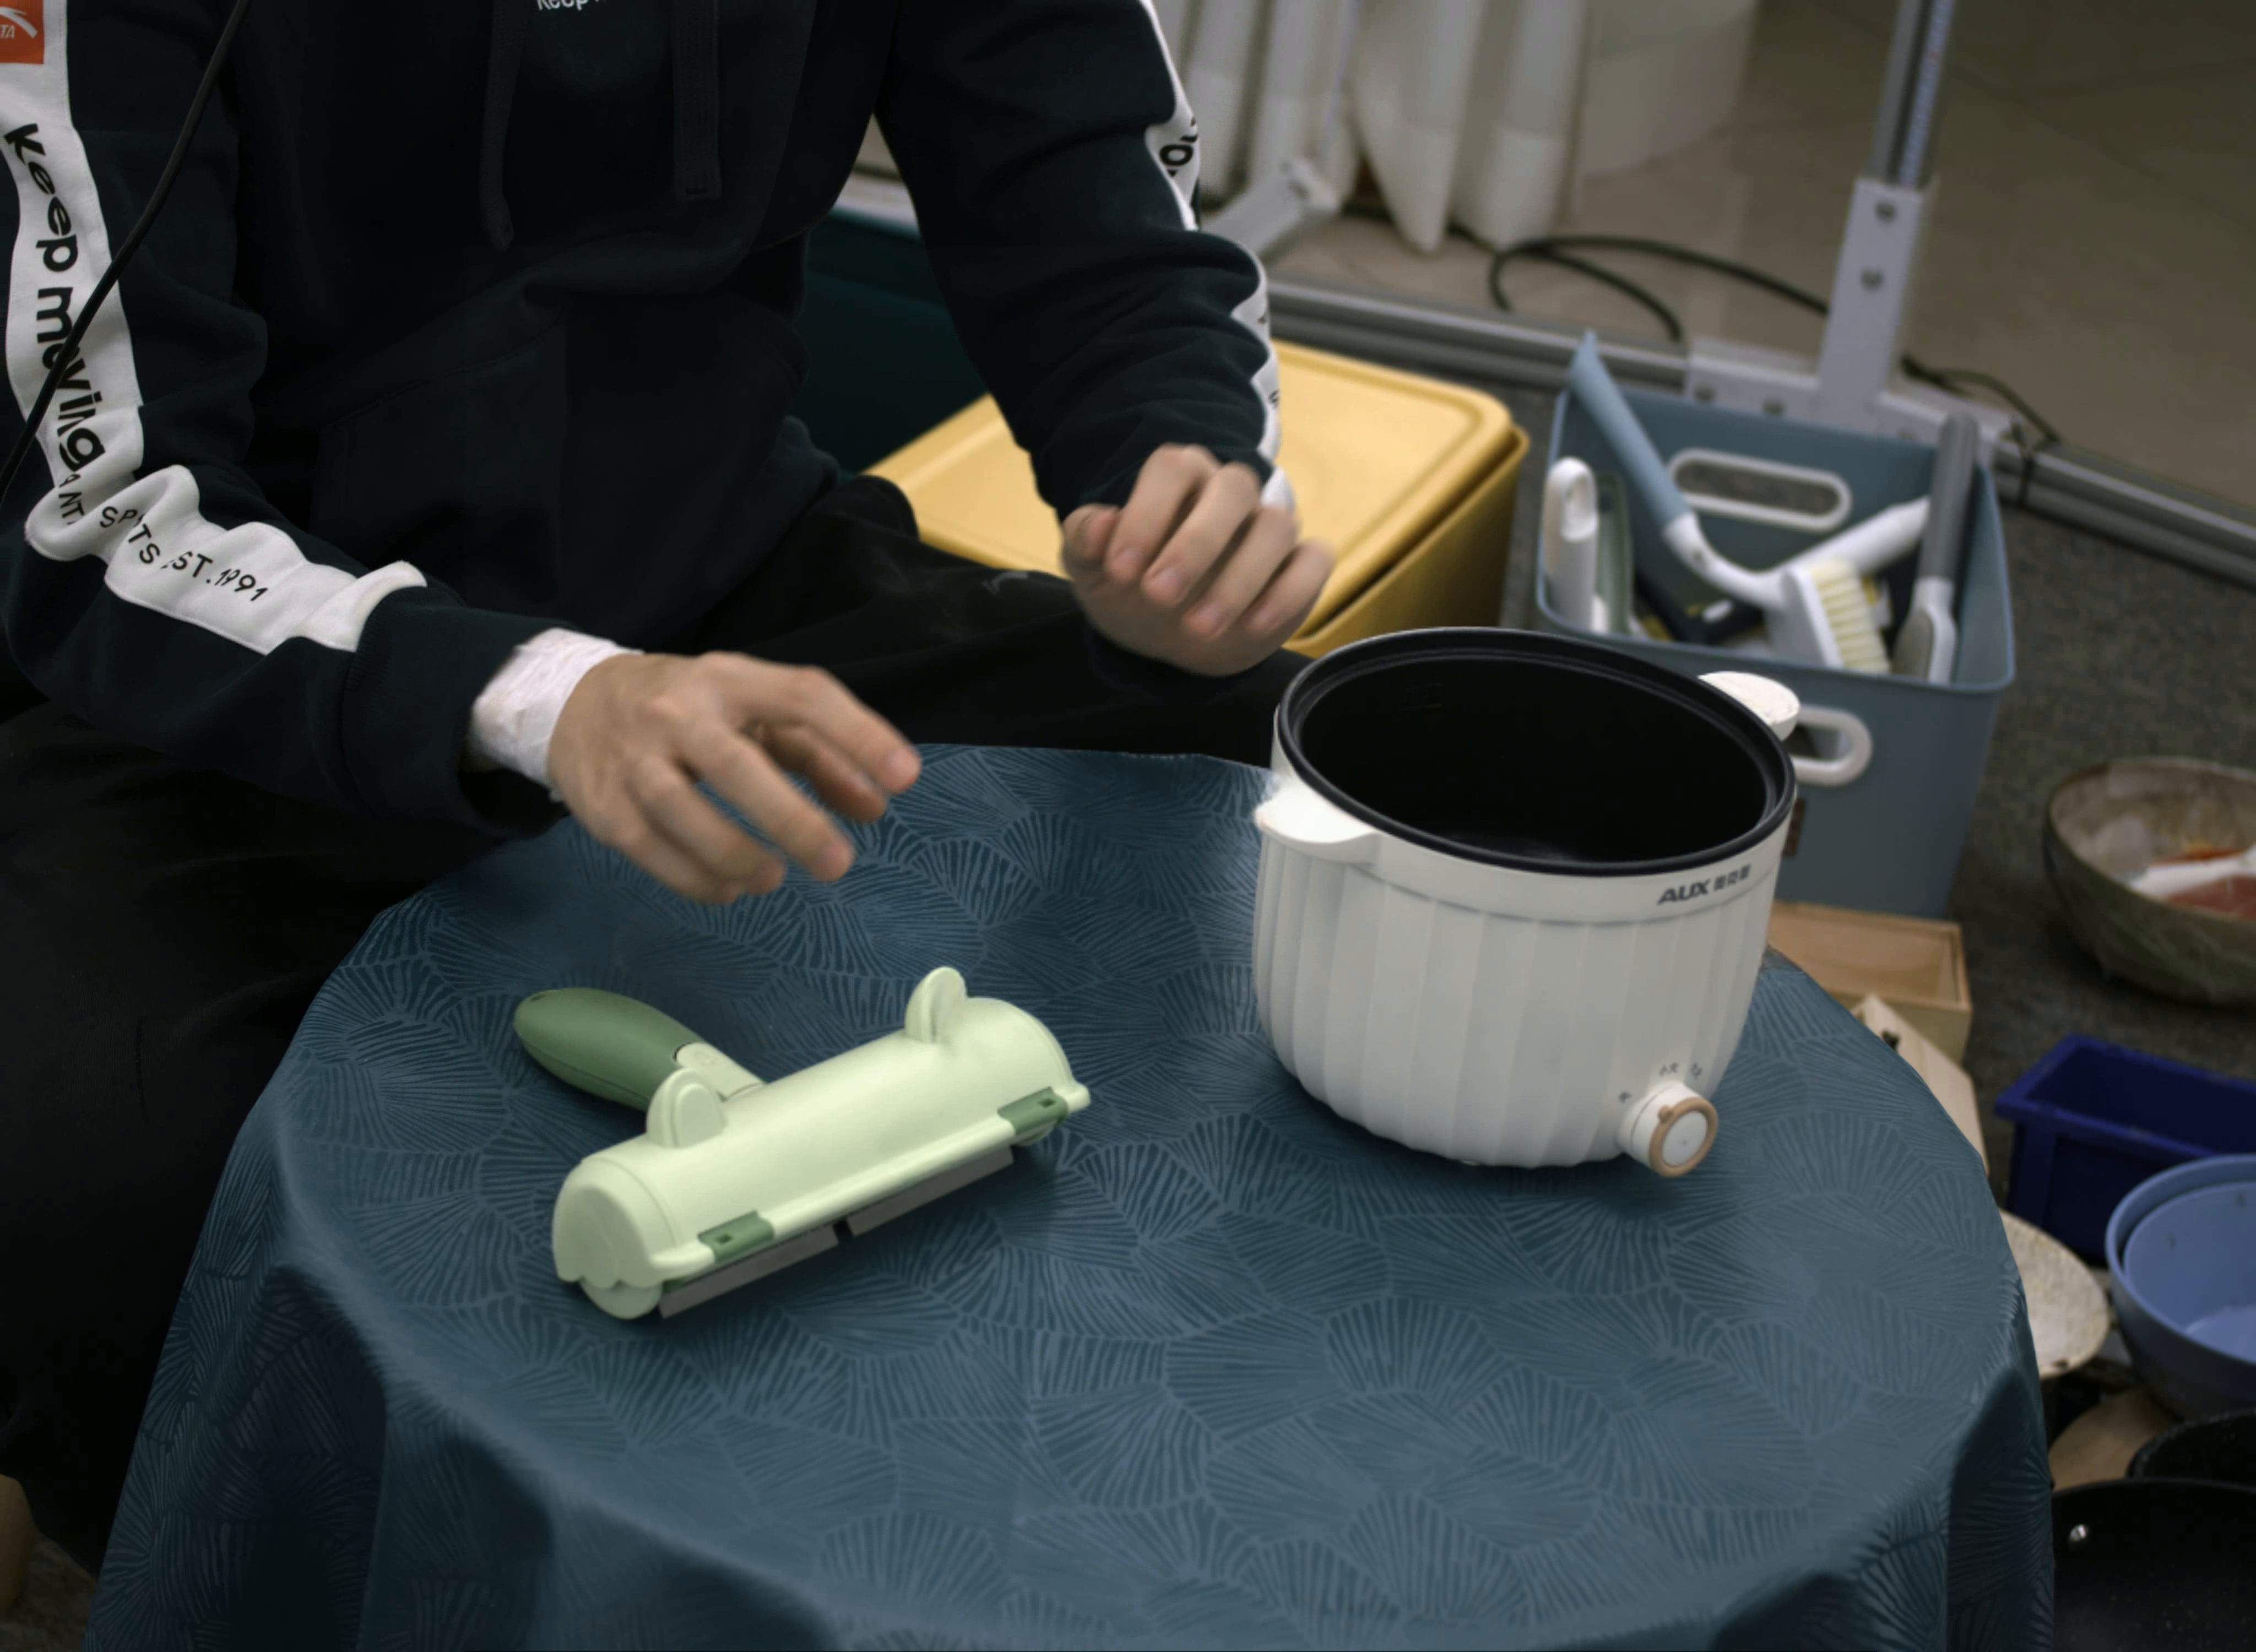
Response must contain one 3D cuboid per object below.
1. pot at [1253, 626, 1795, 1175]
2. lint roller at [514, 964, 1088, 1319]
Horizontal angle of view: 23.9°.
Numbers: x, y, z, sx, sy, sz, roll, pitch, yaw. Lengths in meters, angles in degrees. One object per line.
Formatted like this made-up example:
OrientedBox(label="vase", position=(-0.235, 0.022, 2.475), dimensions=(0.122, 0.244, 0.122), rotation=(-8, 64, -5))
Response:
OrientedBox(label="pot", position=(0.138, 0.032, 1.859), dimensions=(0.239, 0.142, 0.192), rotation=(-16, 31, -35))
OrientedBox(label="lint roller", position=(-0.140, 0.076, 1.777), dimensions=(0.197, 0.082, 0.185), rotation=(-21, 43, -42))
